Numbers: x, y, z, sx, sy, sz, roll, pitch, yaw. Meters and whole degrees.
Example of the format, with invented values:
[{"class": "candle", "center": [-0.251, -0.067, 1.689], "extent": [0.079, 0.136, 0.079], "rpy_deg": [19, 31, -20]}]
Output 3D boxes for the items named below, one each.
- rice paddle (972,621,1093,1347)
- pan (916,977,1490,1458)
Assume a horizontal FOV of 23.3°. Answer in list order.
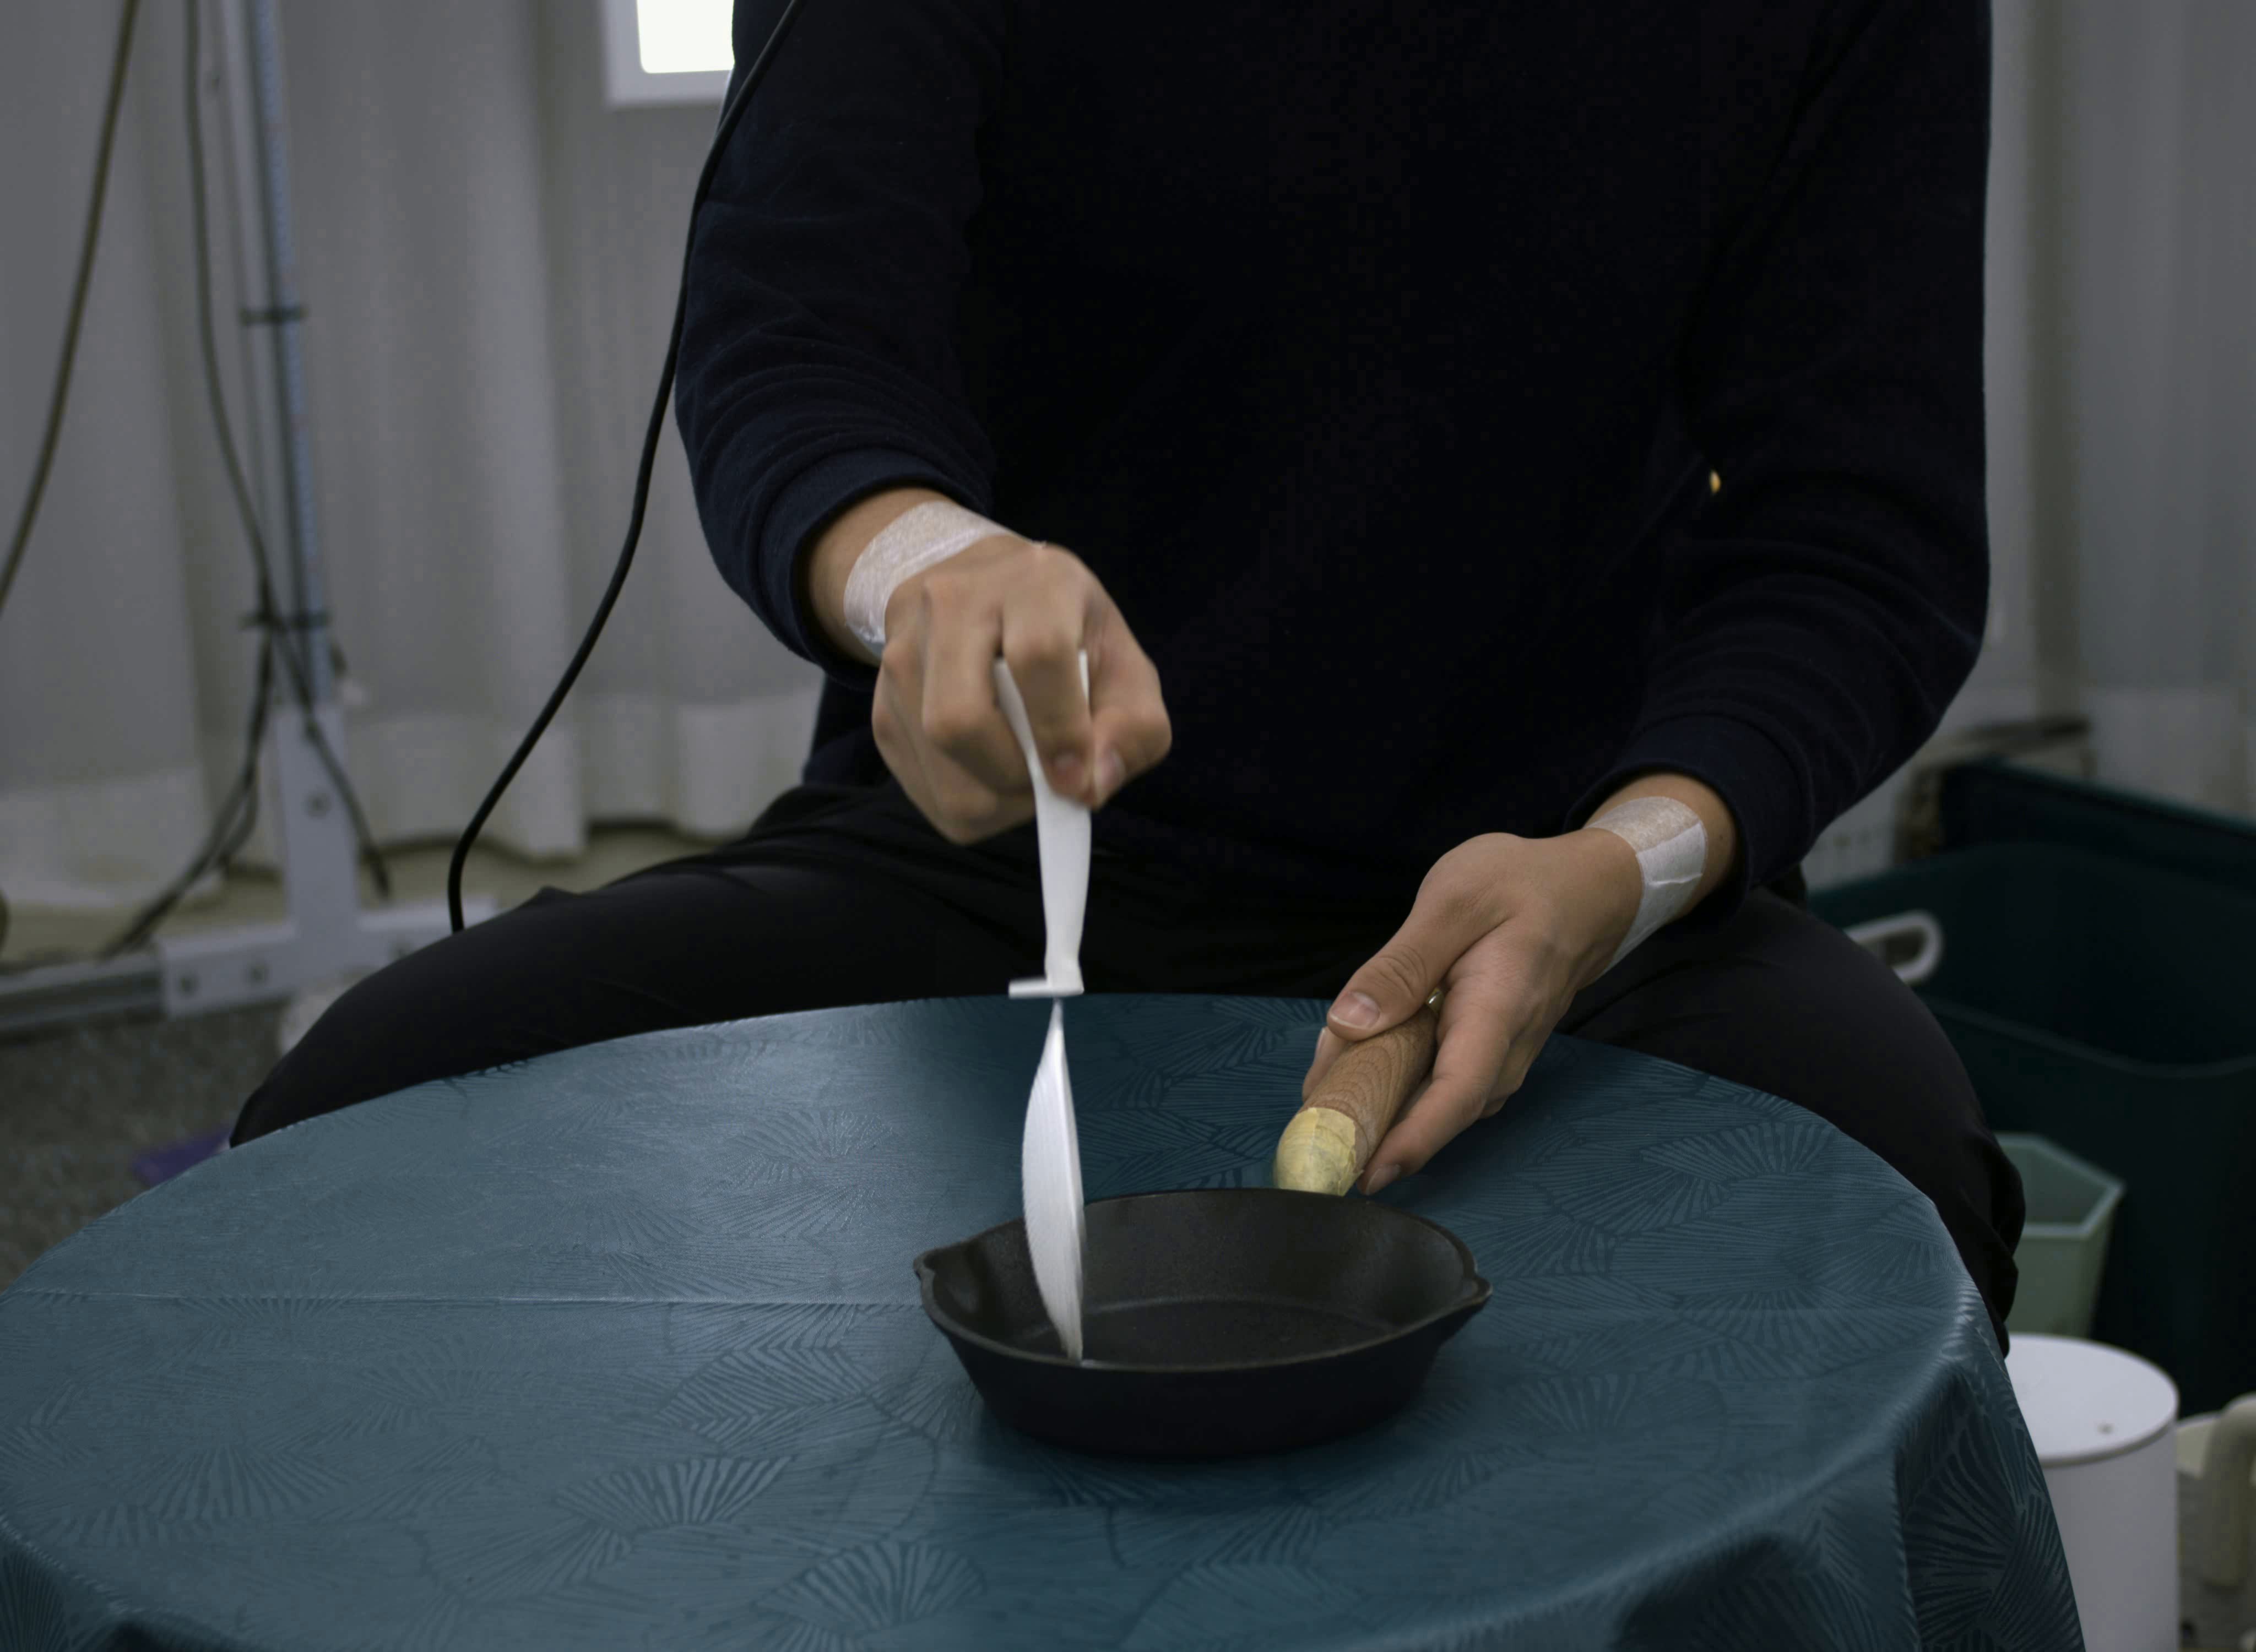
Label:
[{"class": "rice paddle", "center": [-0.019, 0.046, 1.545], "extent": [0.029, 0.205, 0.069], "rpy_deg": [-6, 3, 2]}, {"class": "pan", "center": [0.049, 0.112, 1.619], "extent": [0.169, 0.049, 0.325], "rpy_deg": [3, 16, 20]}]
